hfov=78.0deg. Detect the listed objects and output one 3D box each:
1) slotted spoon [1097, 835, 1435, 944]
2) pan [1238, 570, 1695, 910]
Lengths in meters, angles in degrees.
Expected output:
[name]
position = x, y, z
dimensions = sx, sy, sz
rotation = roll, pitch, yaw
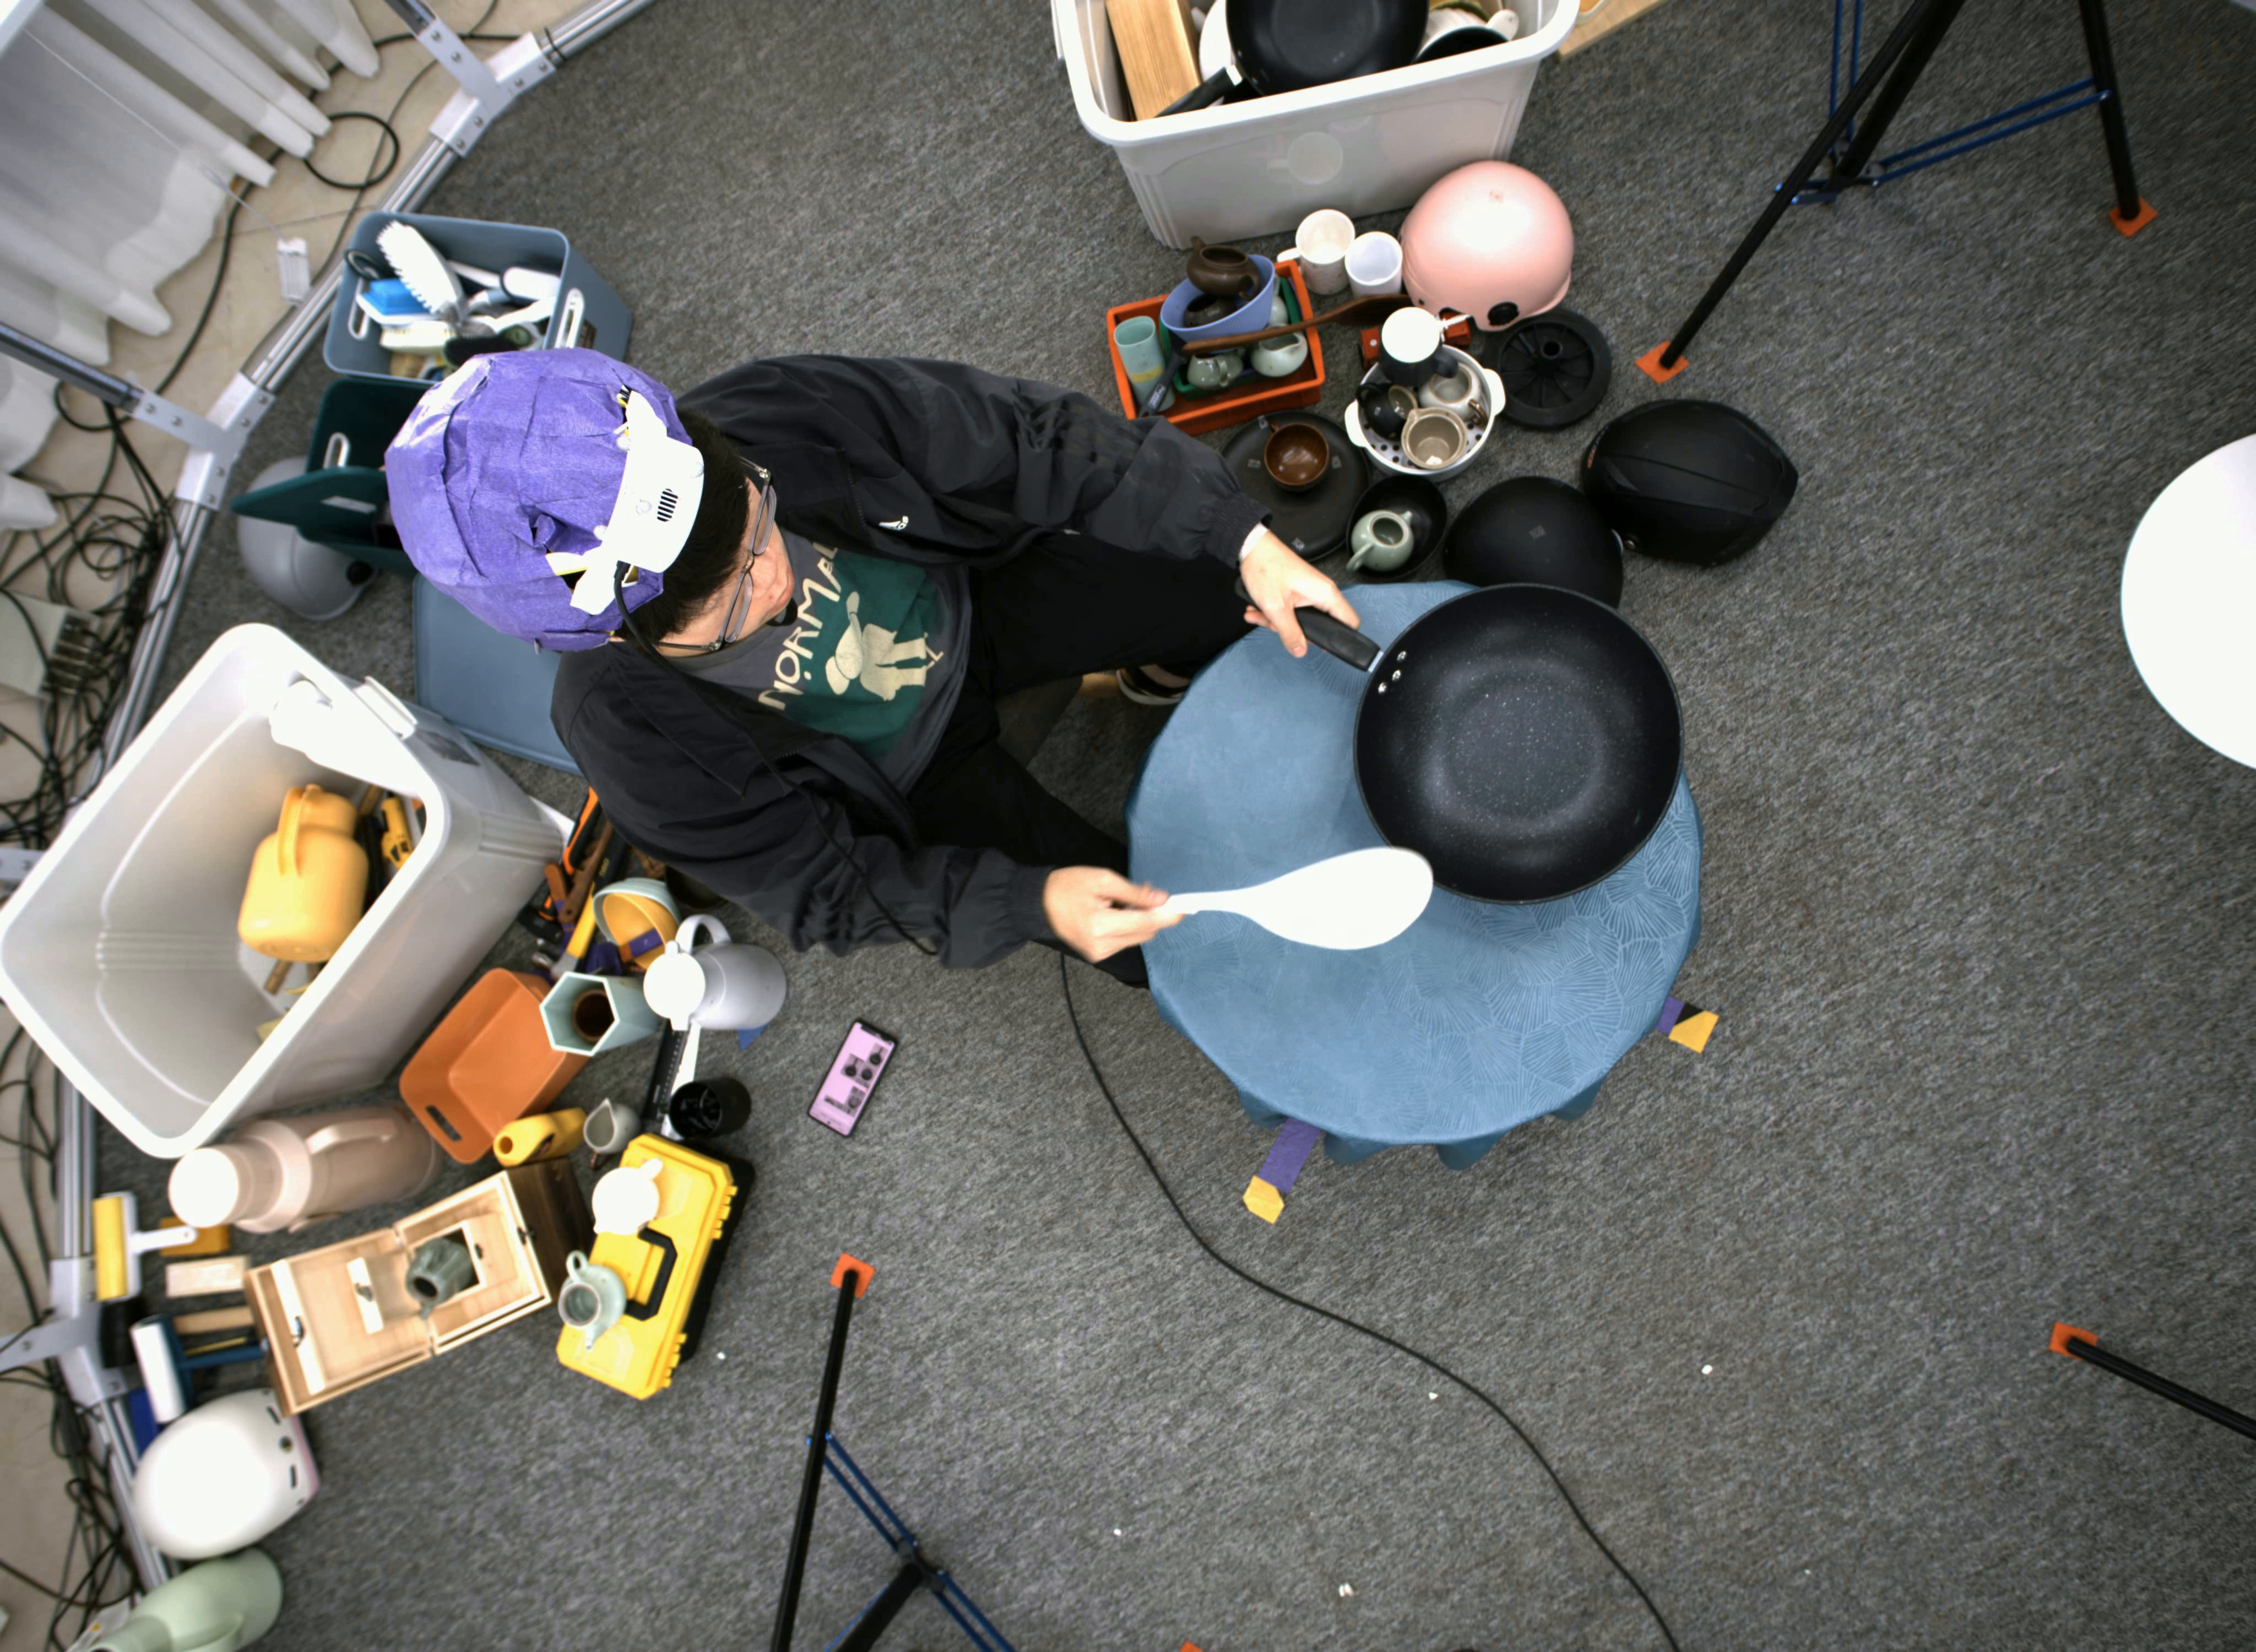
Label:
[slotted spoon]
position = 0.121, 0.073, 1.311
dimensions = 0.350, 0.051, 0.133
rotation = -2, 43, 27
[pan]
position = 0.317, -0.120, 1.352
dimensions = 0.474, 0.111, 0.313
rotation = 34, 101, 19
